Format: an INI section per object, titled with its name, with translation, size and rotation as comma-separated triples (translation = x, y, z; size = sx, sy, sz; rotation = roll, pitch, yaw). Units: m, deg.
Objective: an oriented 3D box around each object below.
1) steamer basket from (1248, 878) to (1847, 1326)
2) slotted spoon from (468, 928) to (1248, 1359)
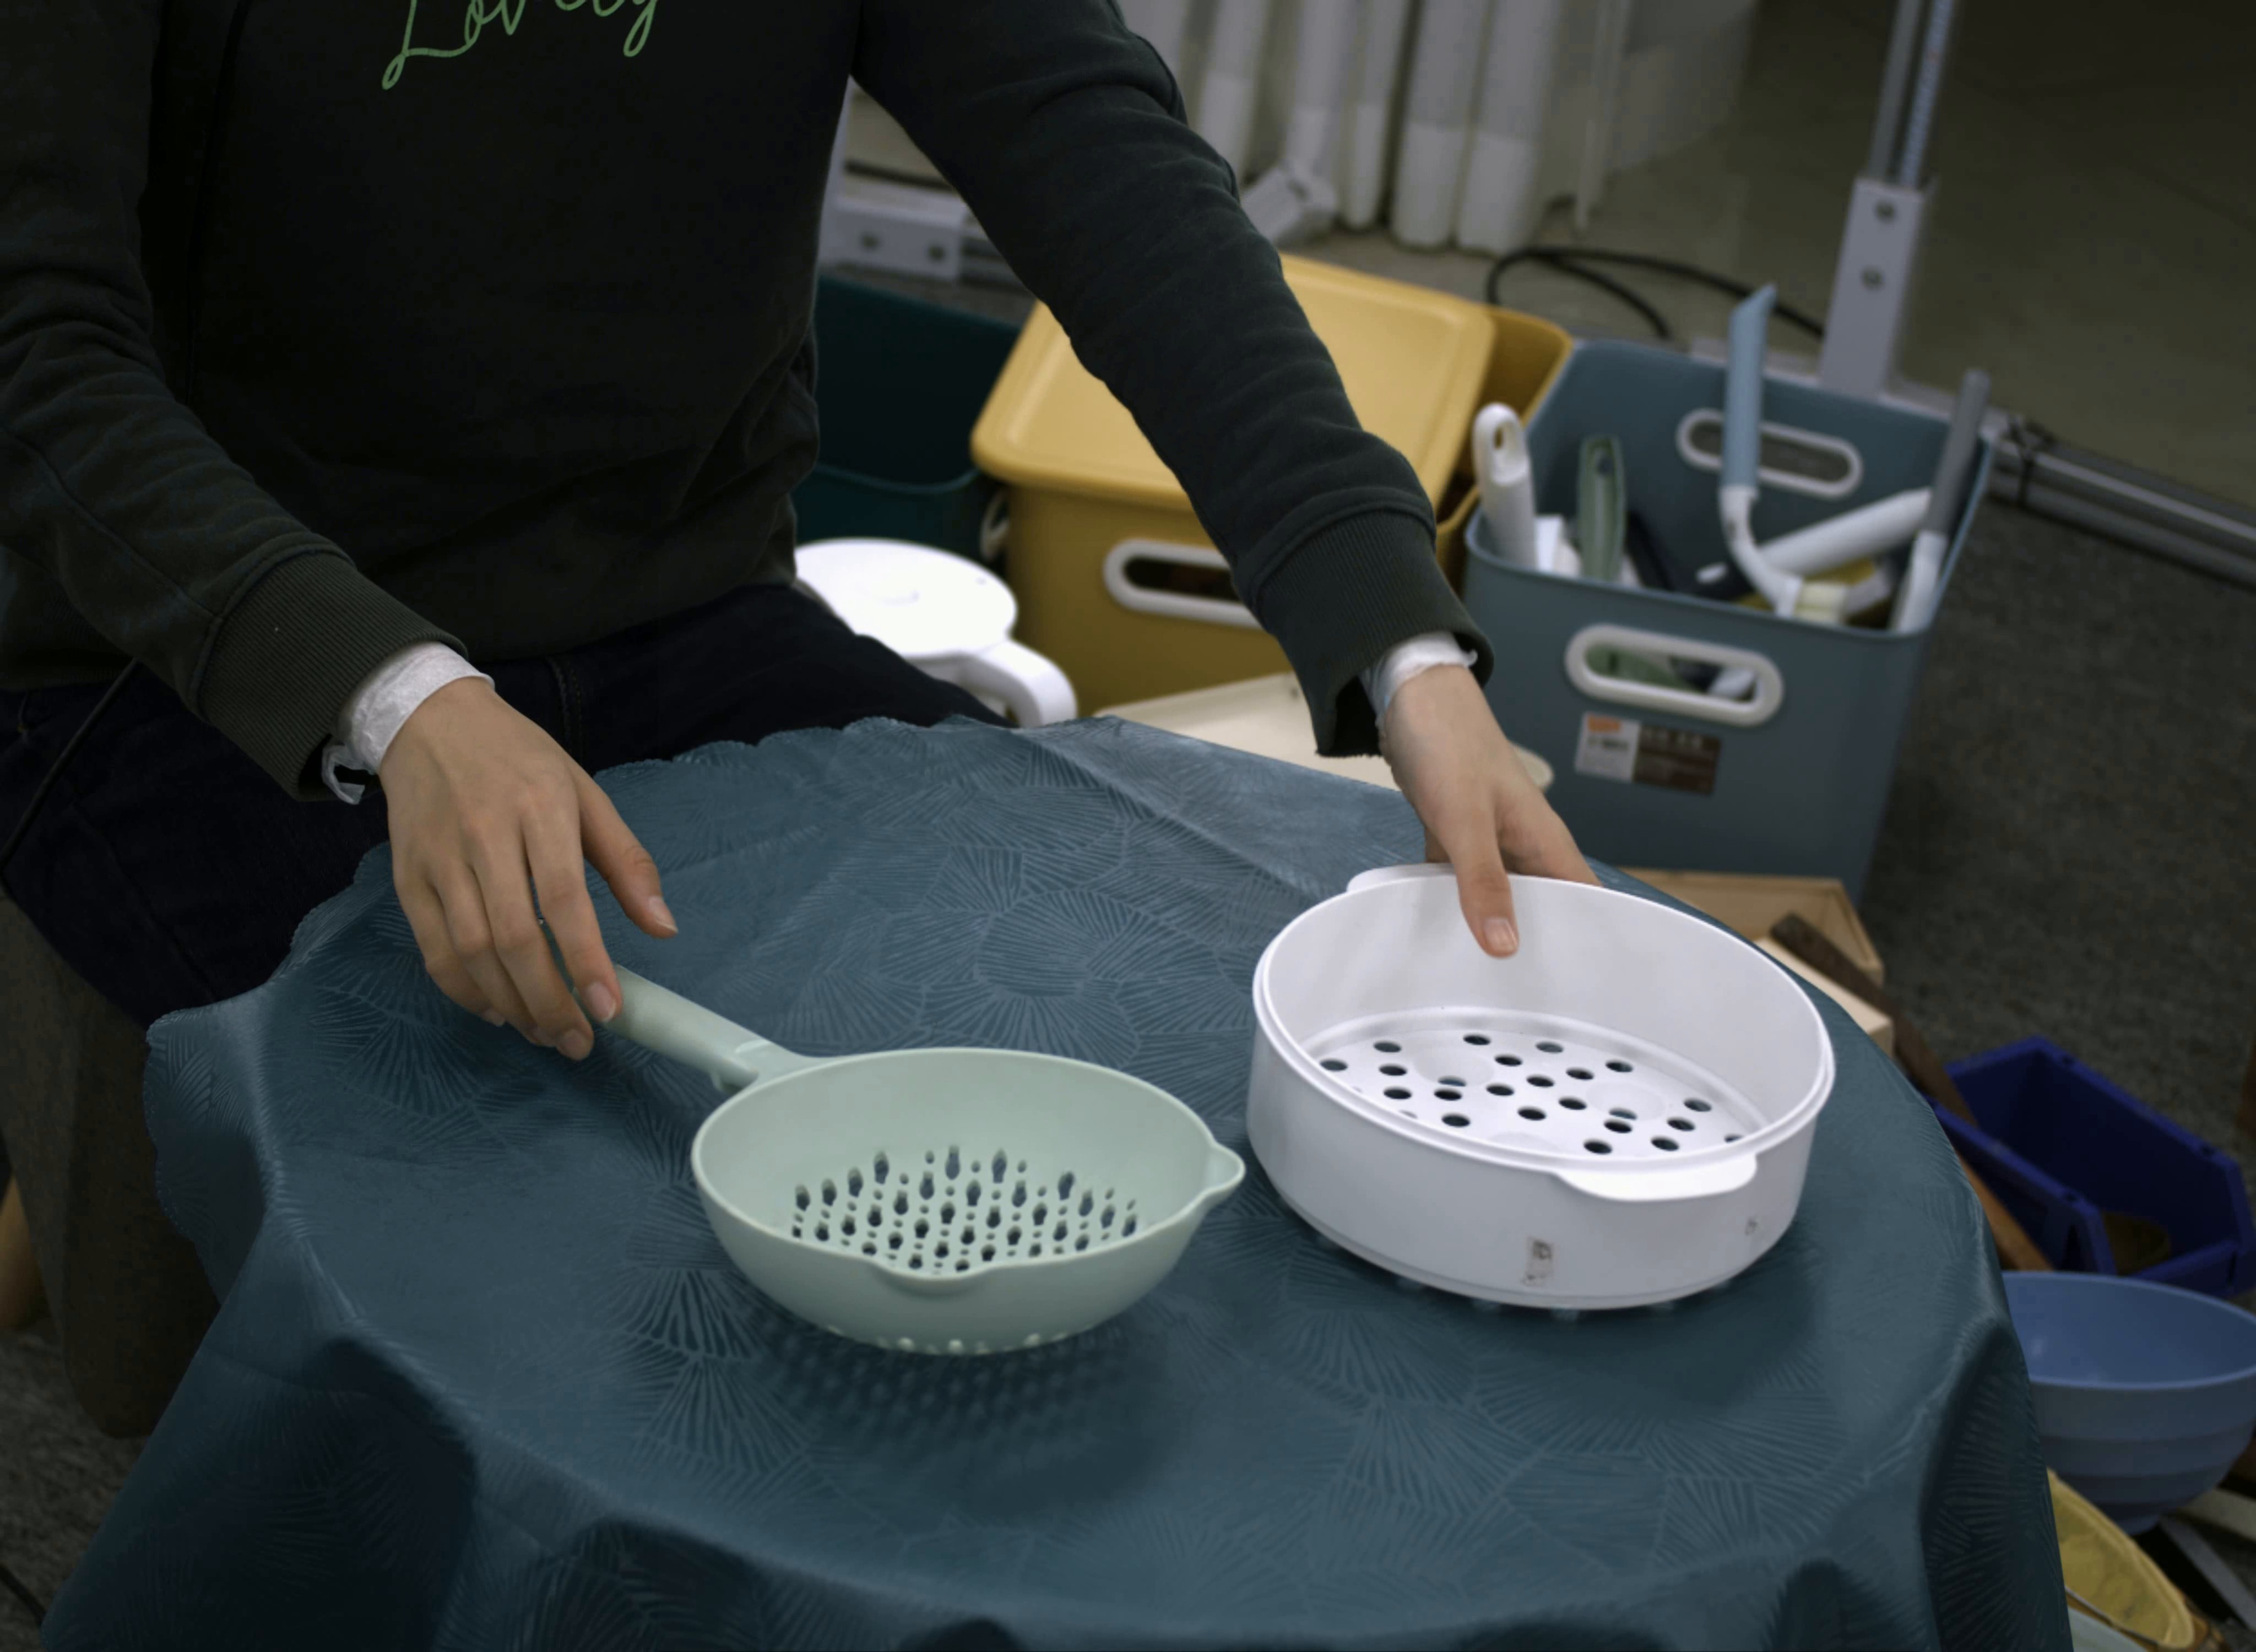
[steamer basket]
translation = 0.141, 0.096, 1.816
size = 0.200, 0.069, 0.232
rotation = -3, 28, -21
[slotted spoon]
translation = -0.117, 0.089, 1.773
size = 0.168, 0.075, 0.362
rotation = -14, 33, -37
